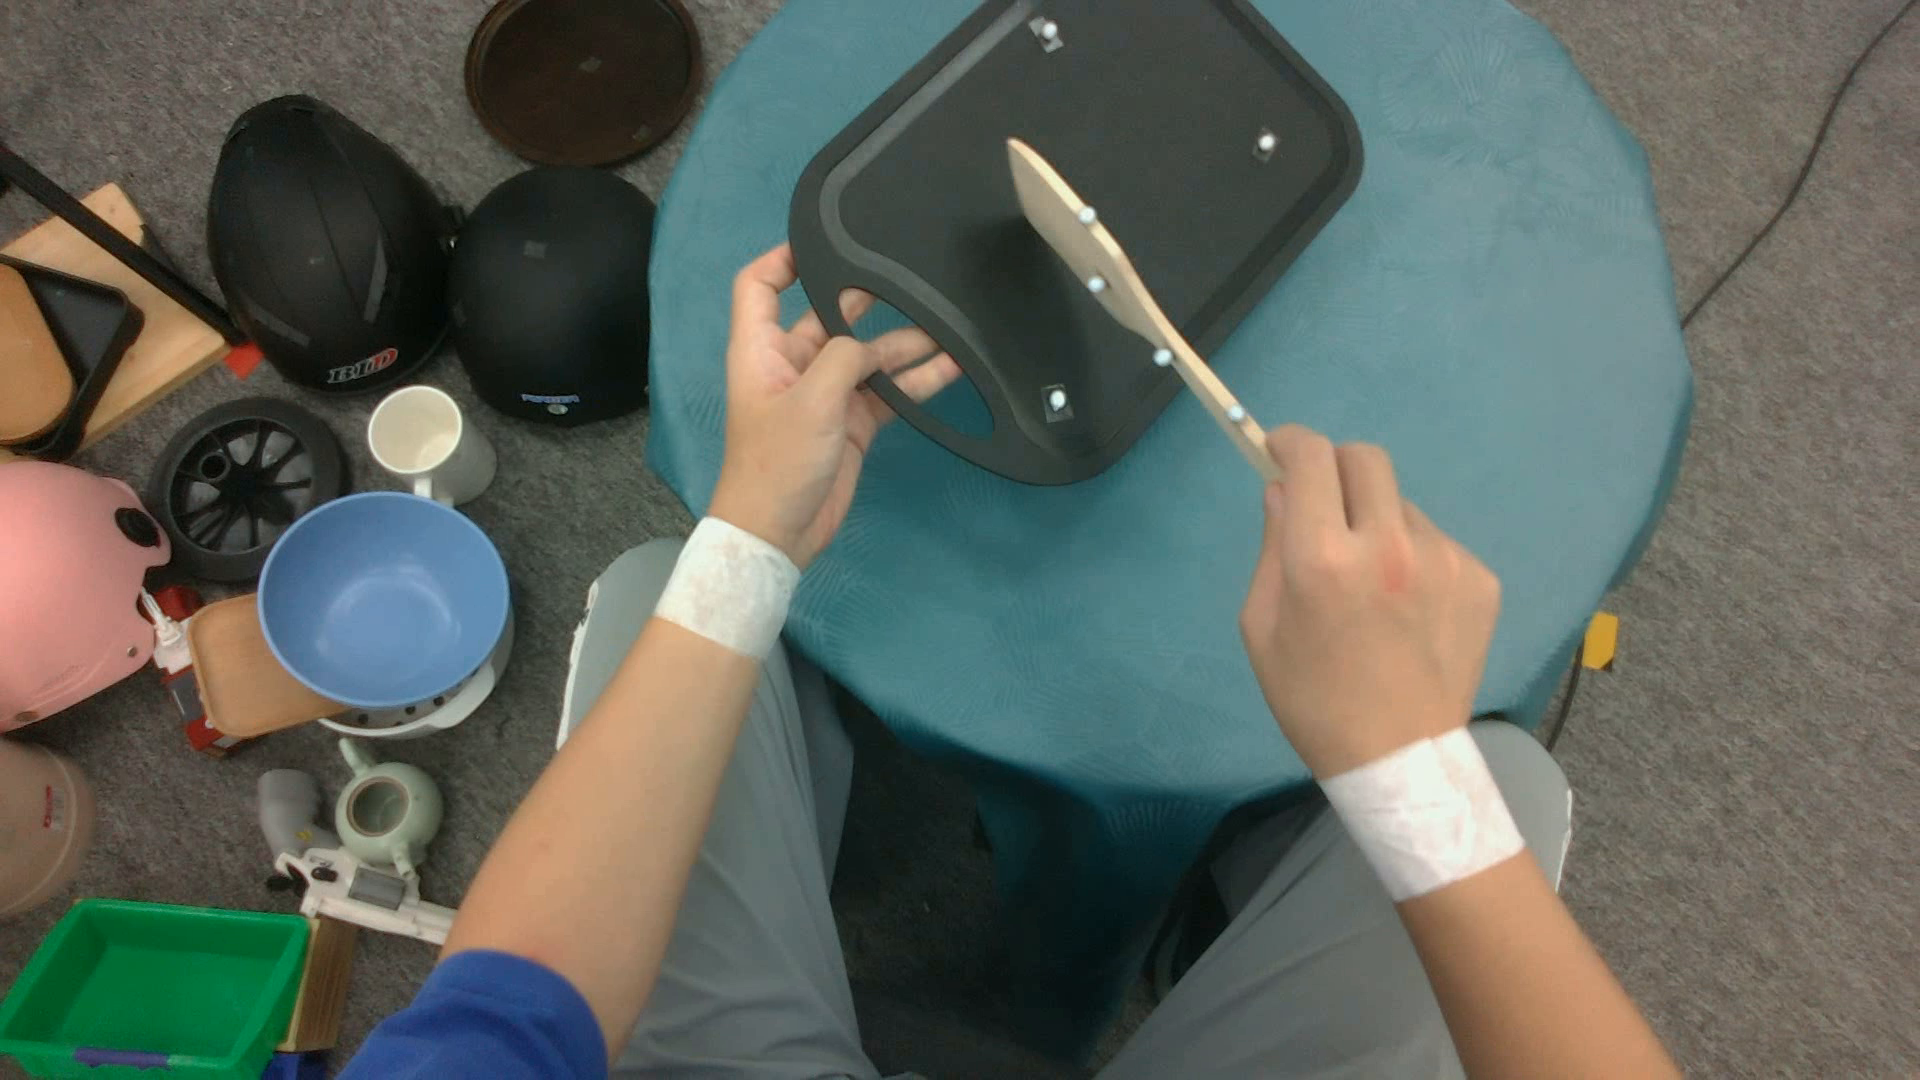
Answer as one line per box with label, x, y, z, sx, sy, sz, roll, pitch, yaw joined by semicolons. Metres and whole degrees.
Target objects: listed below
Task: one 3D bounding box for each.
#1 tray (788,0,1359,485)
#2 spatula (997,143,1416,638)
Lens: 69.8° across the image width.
tray;0.066;-0.180;0.722;0.211;0.010;0.326;44;69;-2
spatula;0.105;-0.071;0.621;0.010;0.072;0.293;-36;68;-3
